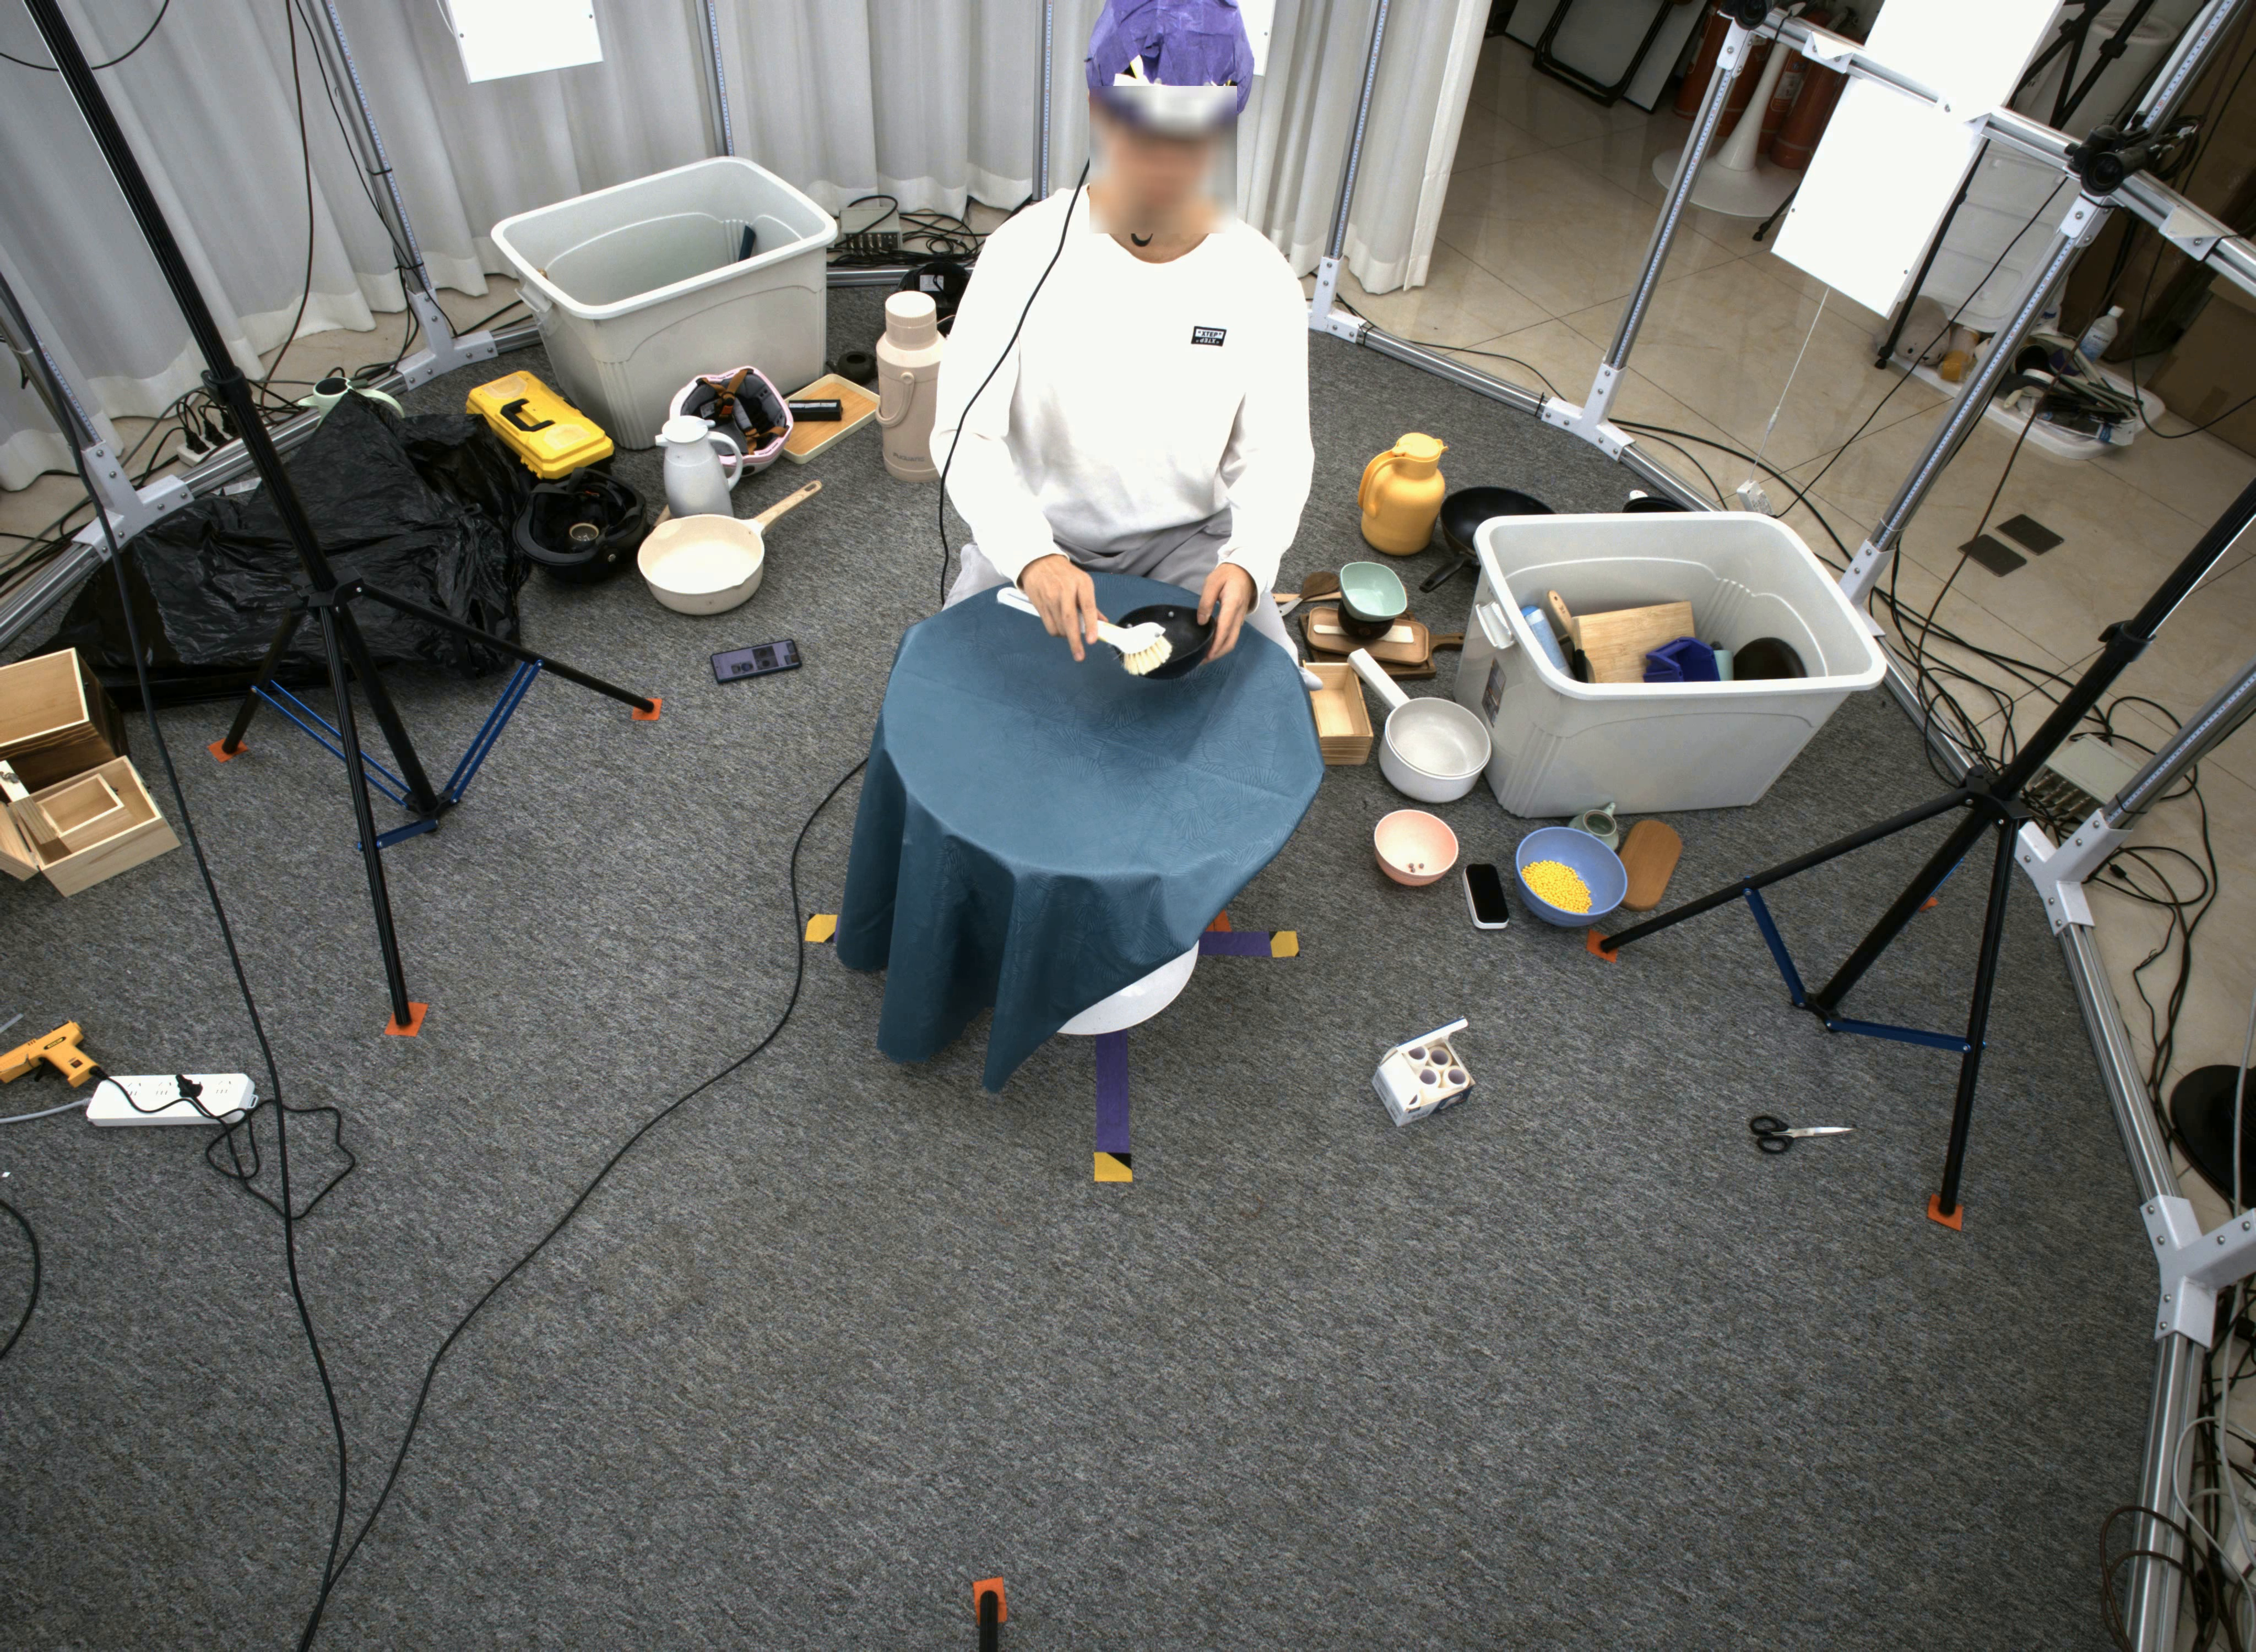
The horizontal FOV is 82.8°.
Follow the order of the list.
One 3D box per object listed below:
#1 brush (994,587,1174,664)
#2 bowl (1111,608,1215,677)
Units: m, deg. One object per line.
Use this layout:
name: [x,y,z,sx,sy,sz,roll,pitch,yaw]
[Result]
brush: [-0.061,-0.274,1.739,0.268,0.055,0.070,16,51,24]
bowl: [0.052,-0.250,1.779,0.138,0.065,0.173,10,37,24]
